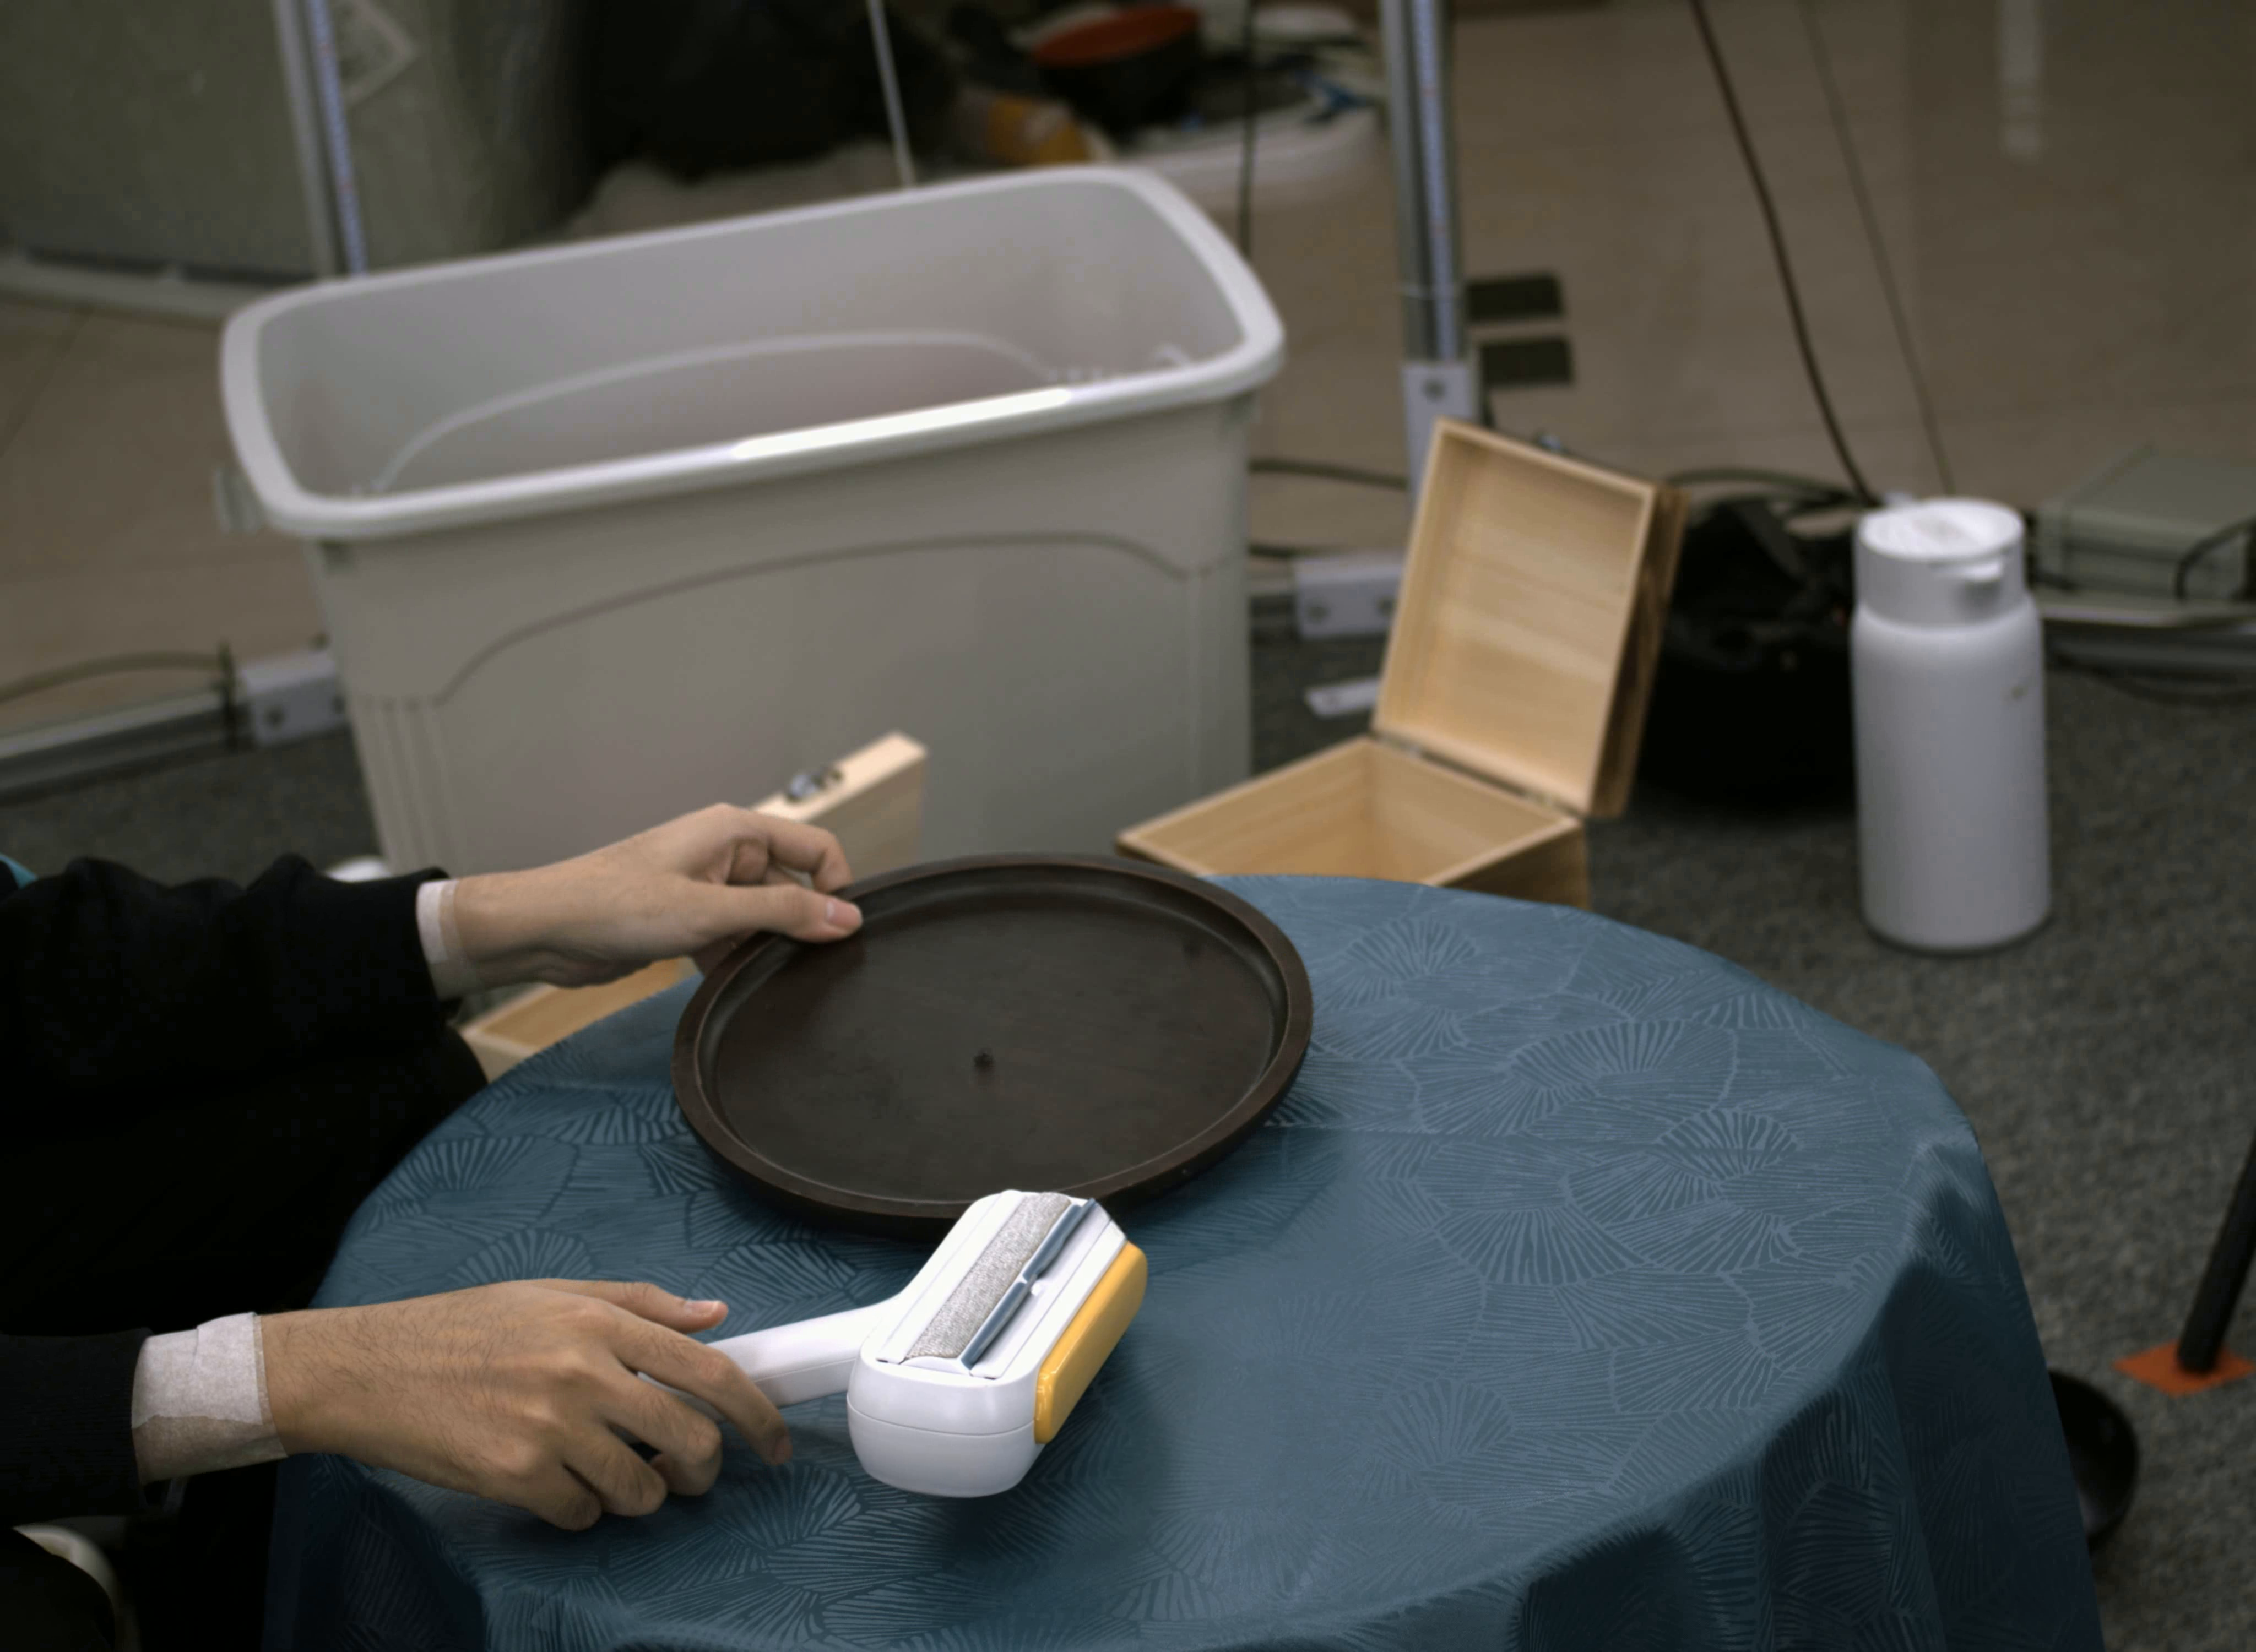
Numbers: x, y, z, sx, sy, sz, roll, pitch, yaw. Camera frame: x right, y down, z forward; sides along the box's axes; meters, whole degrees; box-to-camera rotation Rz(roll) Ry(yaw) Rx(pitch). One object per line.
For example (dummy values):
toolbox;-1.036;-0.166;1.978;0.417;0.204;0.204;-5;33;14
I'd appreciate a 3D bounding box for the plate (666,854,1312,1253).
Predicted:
plate;-0.053;0.087;2.210;0.254;0.029;0.250;-5;33;4

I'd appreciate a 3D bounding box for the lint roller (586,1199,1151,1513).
lint roller;-0.102;0.187;1.986;0.192;0.075;0.190;0;20;18
